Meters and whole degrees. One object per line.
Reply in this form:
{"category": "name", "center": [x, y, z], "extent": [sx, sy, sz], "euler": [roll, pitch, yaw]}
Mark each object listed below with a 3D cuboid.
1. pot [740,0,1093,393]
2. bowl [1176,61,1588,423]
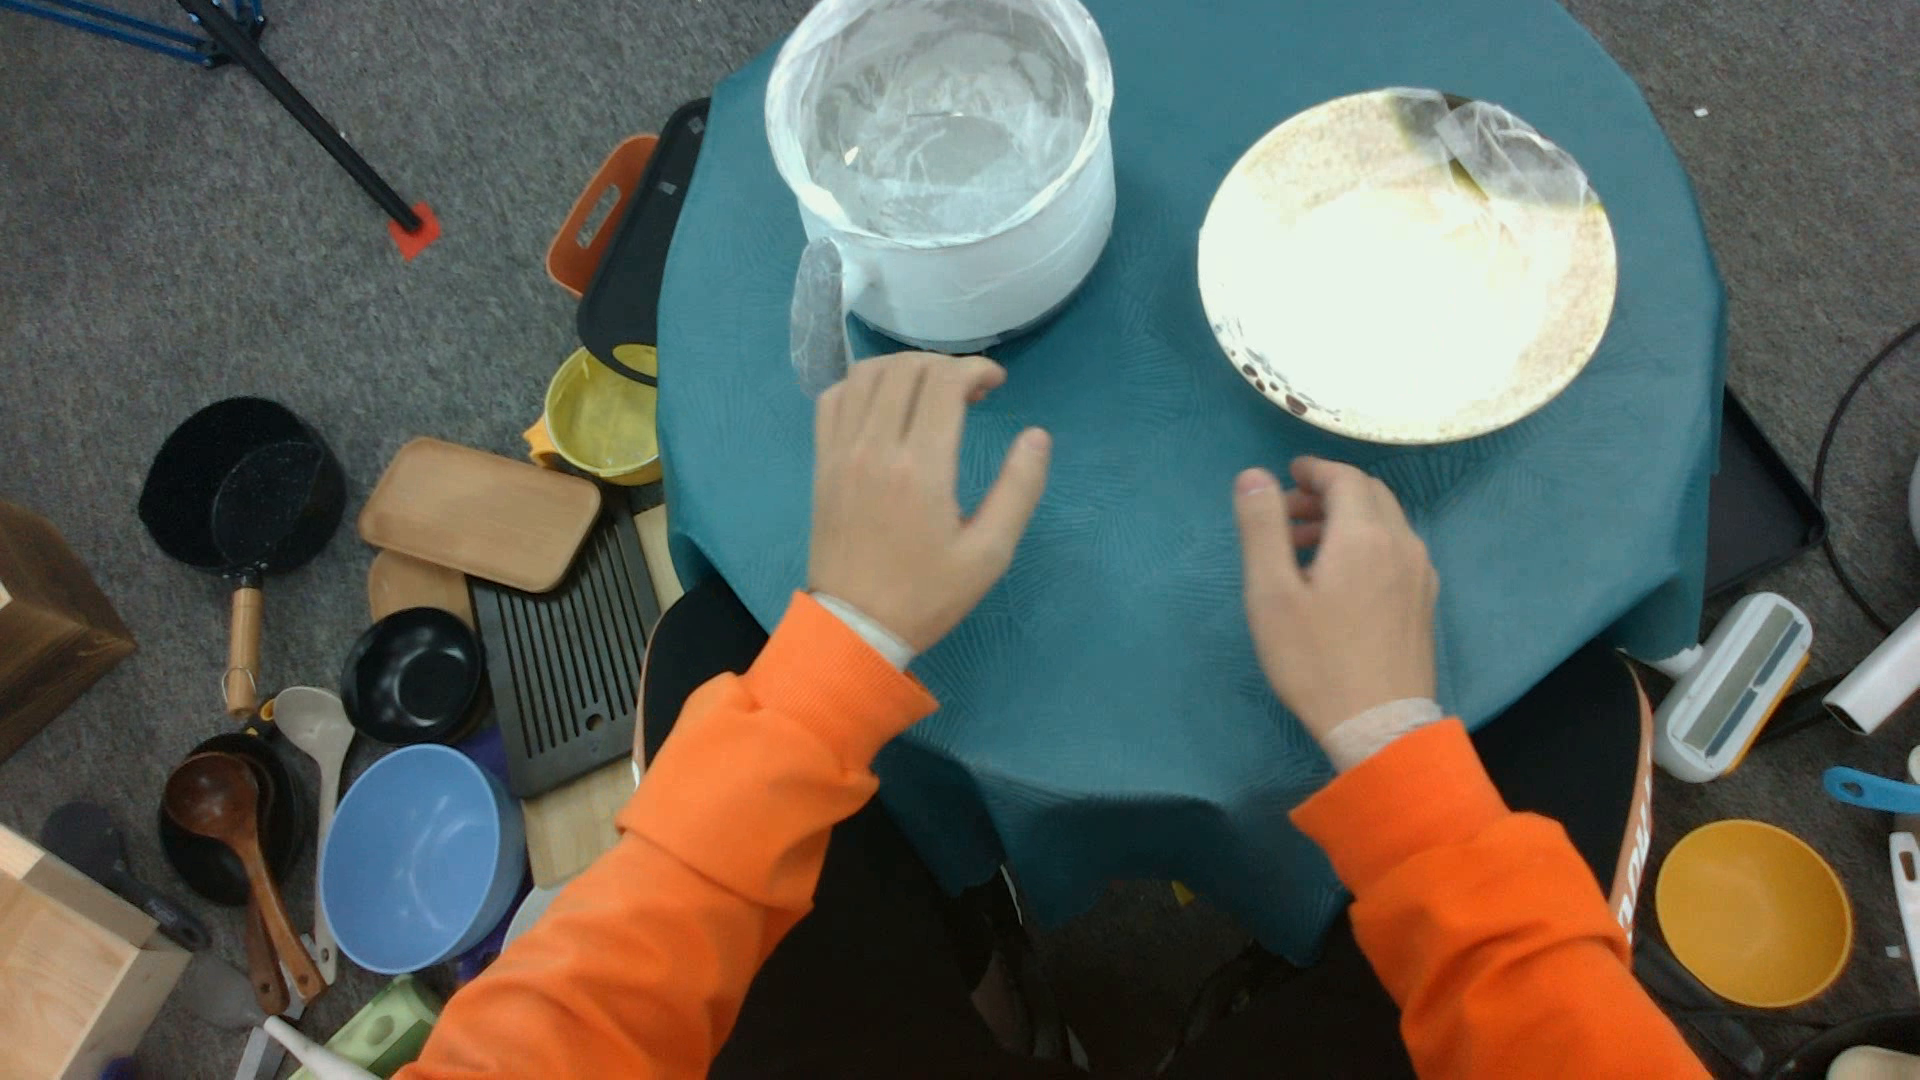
{"category": "pot", "center": [-0.031, -0.193, 0.746], "extent": [0.178, 0.136, 0.234], "euler": [27, 76, 15]}
{"category": "bowl", "center": [0.217, -0.146, 0.734], "extent": [0.204, 0.078, 0.204], "euler": [-2, 74, 6]}
